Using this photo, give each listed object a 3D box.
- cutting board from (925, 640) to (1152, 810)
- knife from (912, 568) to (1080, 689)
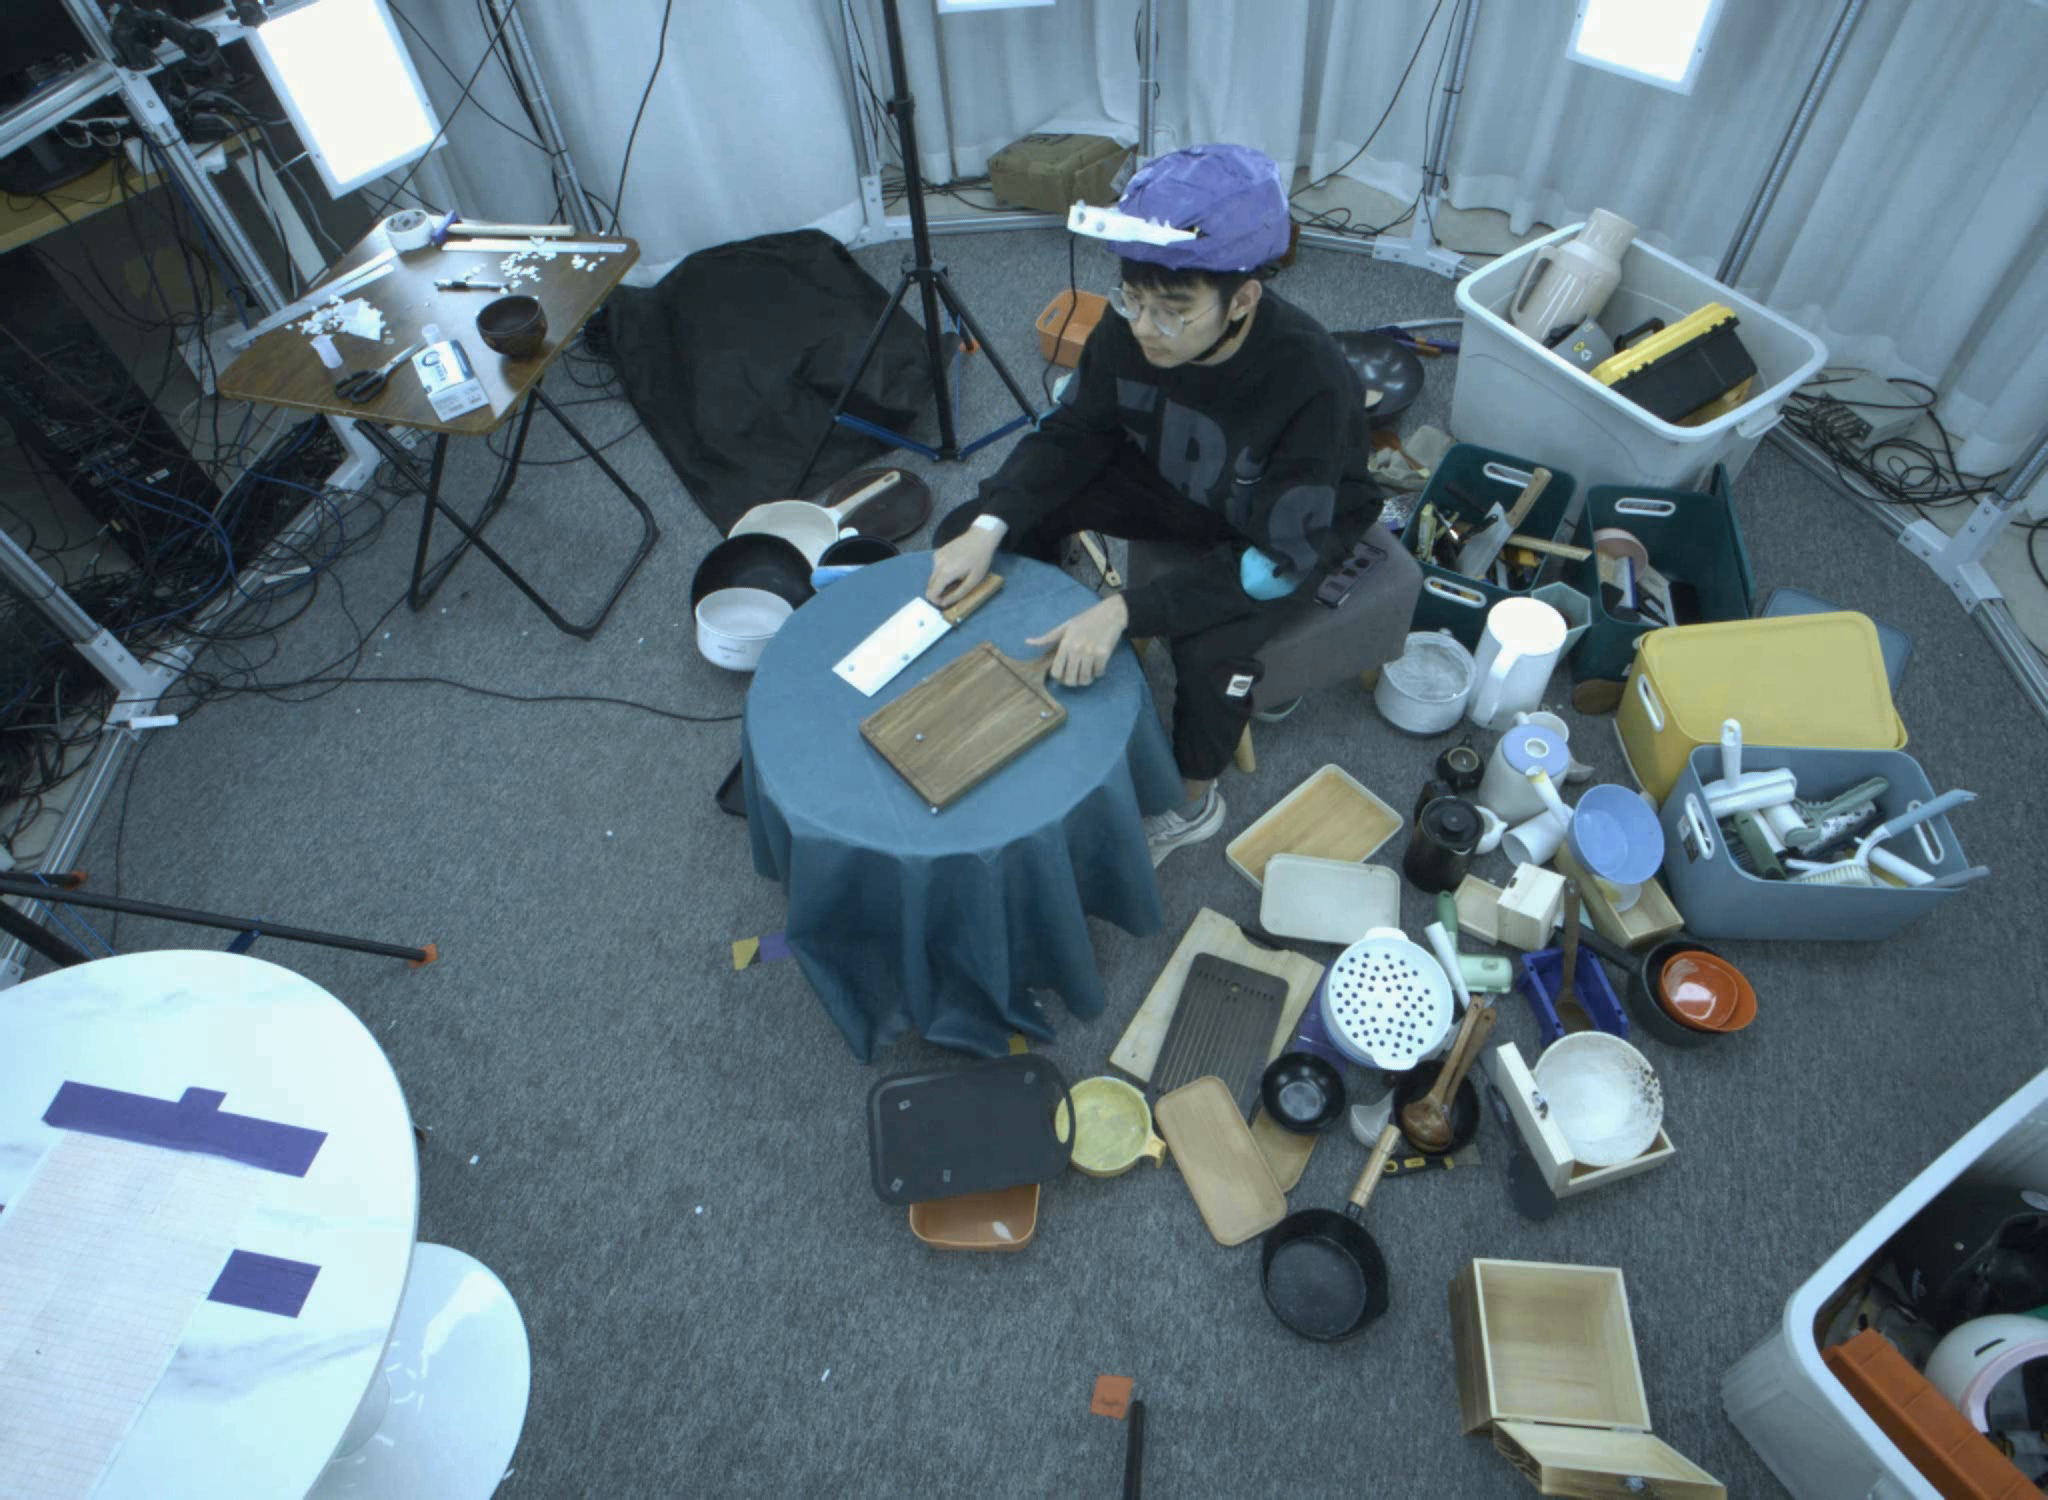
[{"bbox_3d":[0.049,-0.067,1.820,0.355,0.023,0.197,-32,60,-19],"label":"cutting board"},{"bbox_3d":[-0.047,-0.205,1.924,0.307,0.021,0.091,-39,61,-20],"label":"knife"}]
